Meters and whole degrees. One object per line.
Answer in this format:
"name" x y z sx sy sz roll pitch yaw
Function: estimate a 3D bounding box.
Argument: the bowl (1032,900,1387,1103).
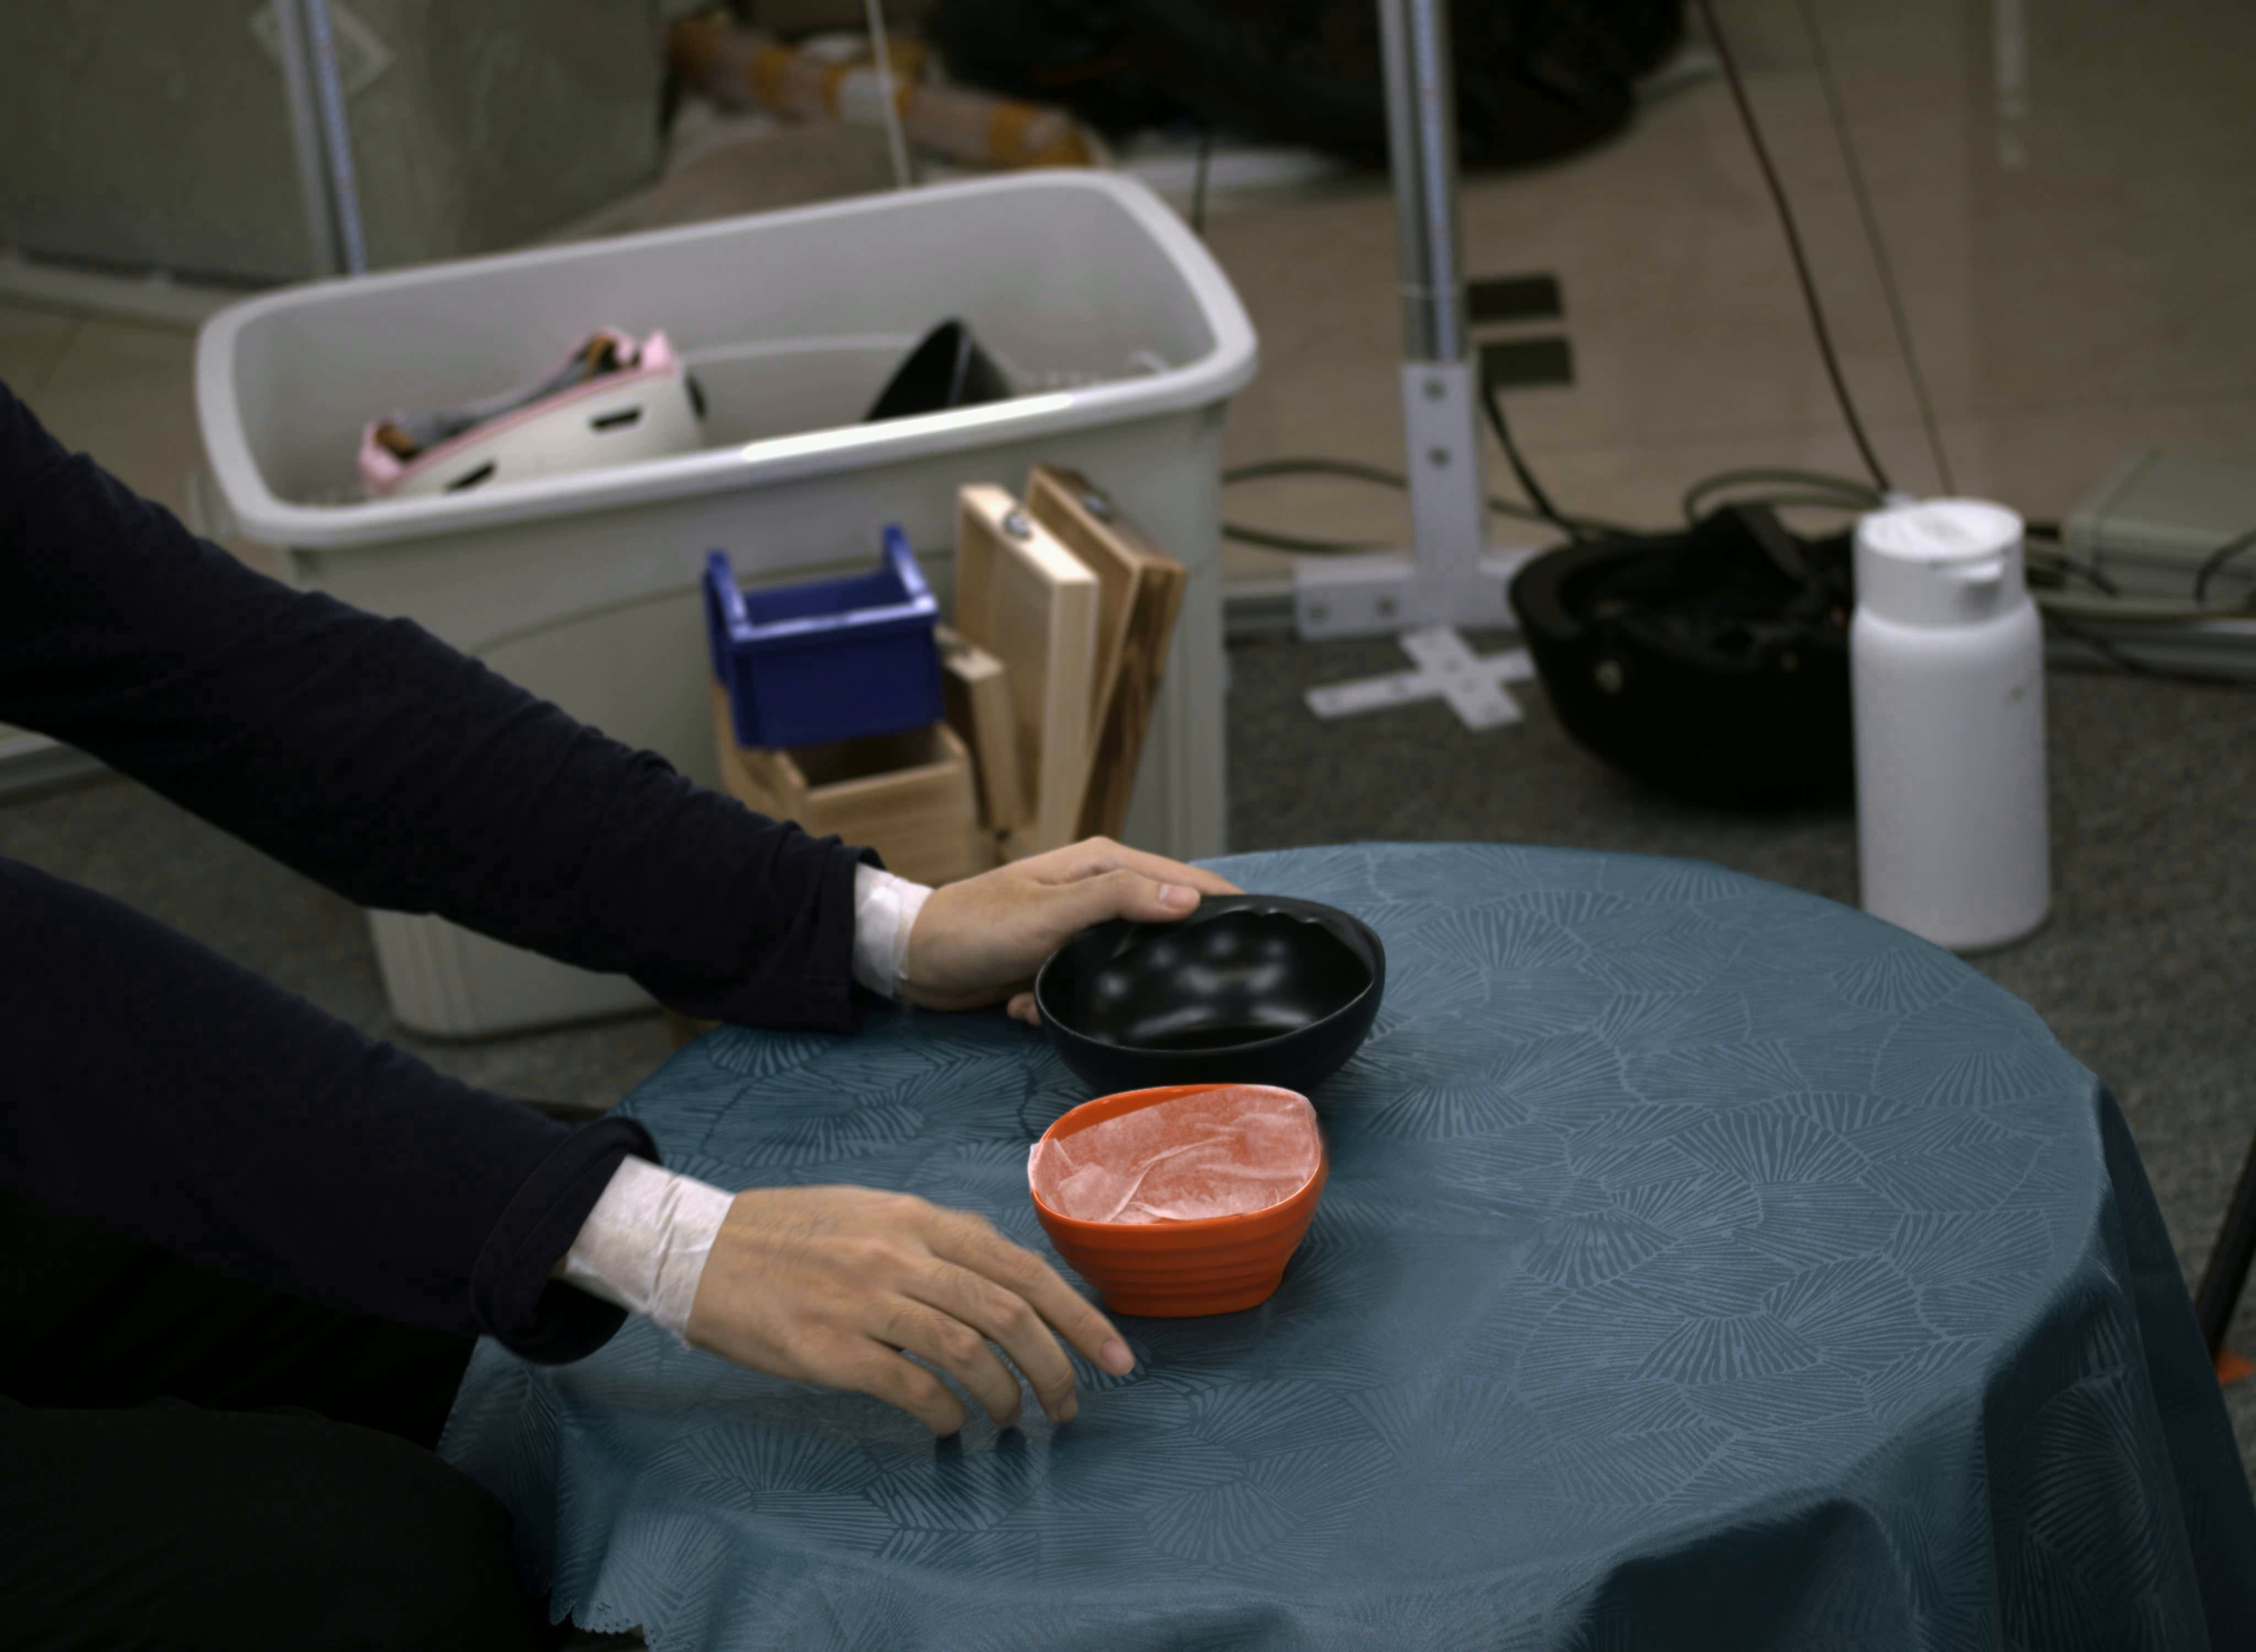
"bowl" 0.035 0.080 2.216 0.140 0.050 0.138 -9 24 4

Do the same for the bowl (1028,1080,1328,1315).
"bowl" 0.020 0.141 2.080 0.119 0.052 0.117 -5 26 2
